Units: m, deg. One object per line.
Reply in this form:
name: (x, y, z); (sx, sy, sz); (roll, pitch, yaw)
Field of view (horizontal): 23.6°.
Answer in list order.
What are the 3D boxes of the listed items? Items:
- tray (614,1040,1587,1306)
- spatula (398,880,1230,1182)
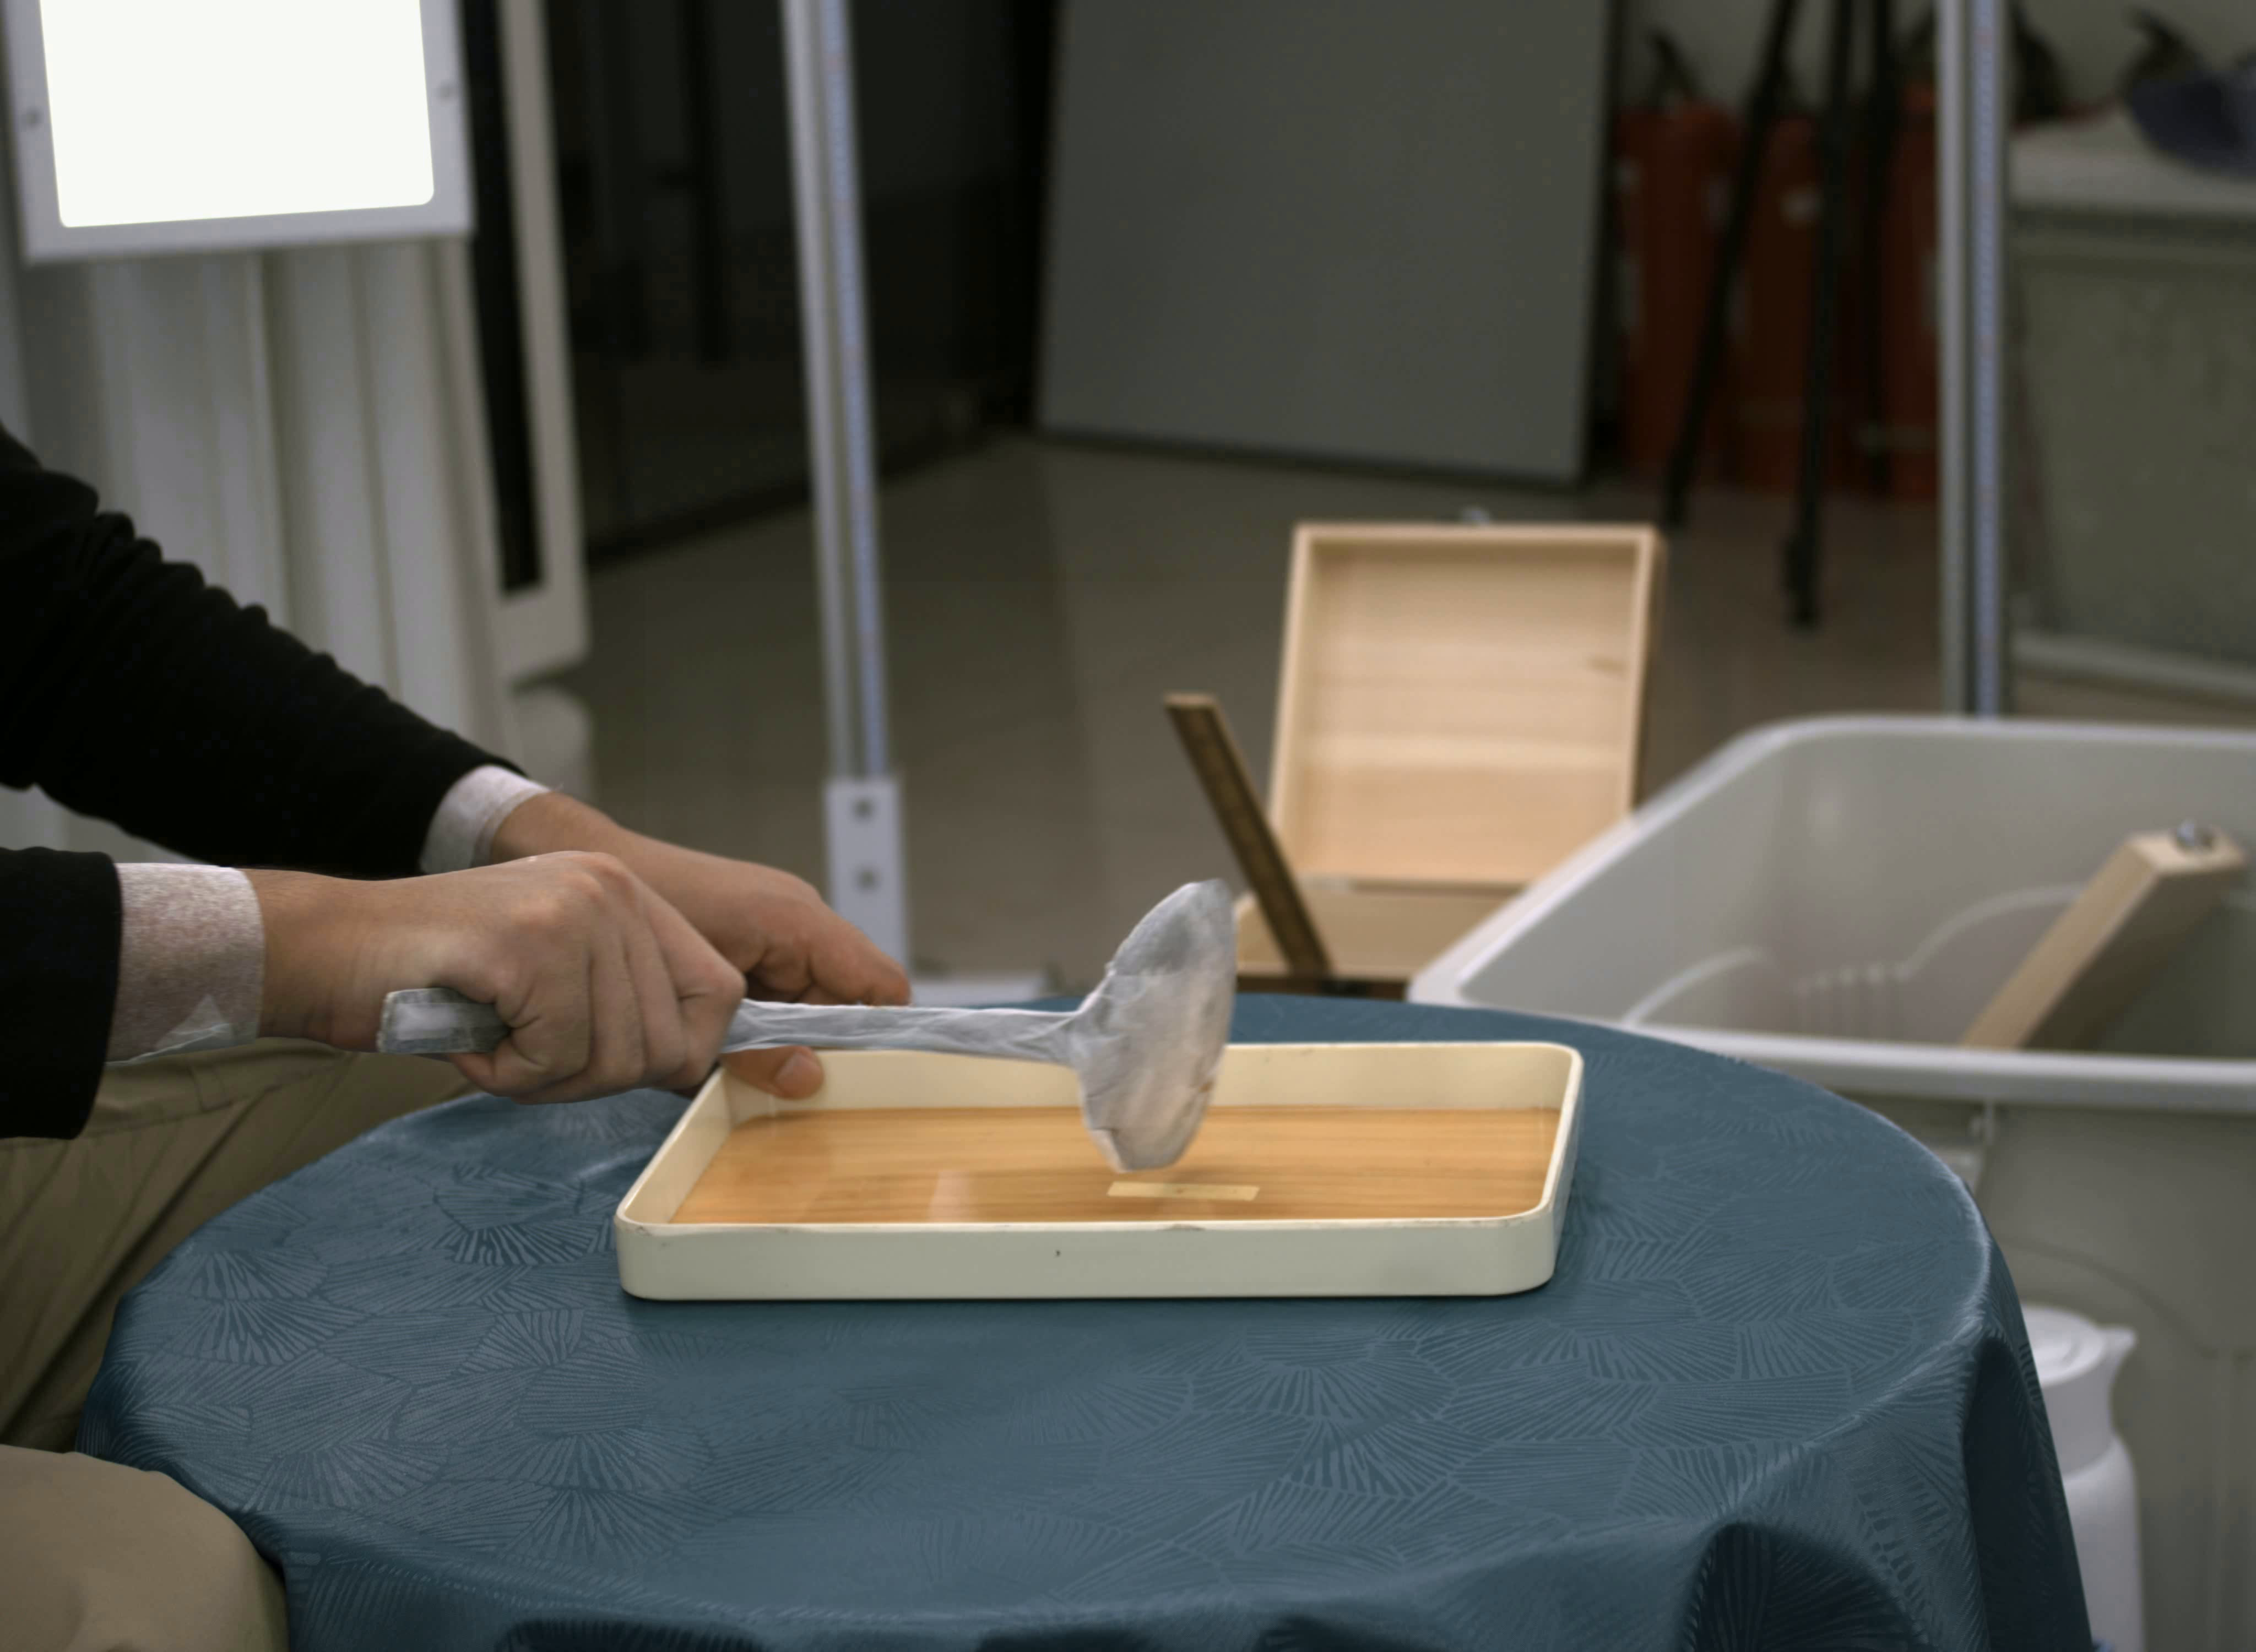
tray: (-0.004, 0.112, 1.752); (0.298, 0.028, 0.191); (-2, 14, 11)
spatula: (-0.085, 0.060, 1.635); (0.356, 0.100, 0.045); (4, 8, -43)
